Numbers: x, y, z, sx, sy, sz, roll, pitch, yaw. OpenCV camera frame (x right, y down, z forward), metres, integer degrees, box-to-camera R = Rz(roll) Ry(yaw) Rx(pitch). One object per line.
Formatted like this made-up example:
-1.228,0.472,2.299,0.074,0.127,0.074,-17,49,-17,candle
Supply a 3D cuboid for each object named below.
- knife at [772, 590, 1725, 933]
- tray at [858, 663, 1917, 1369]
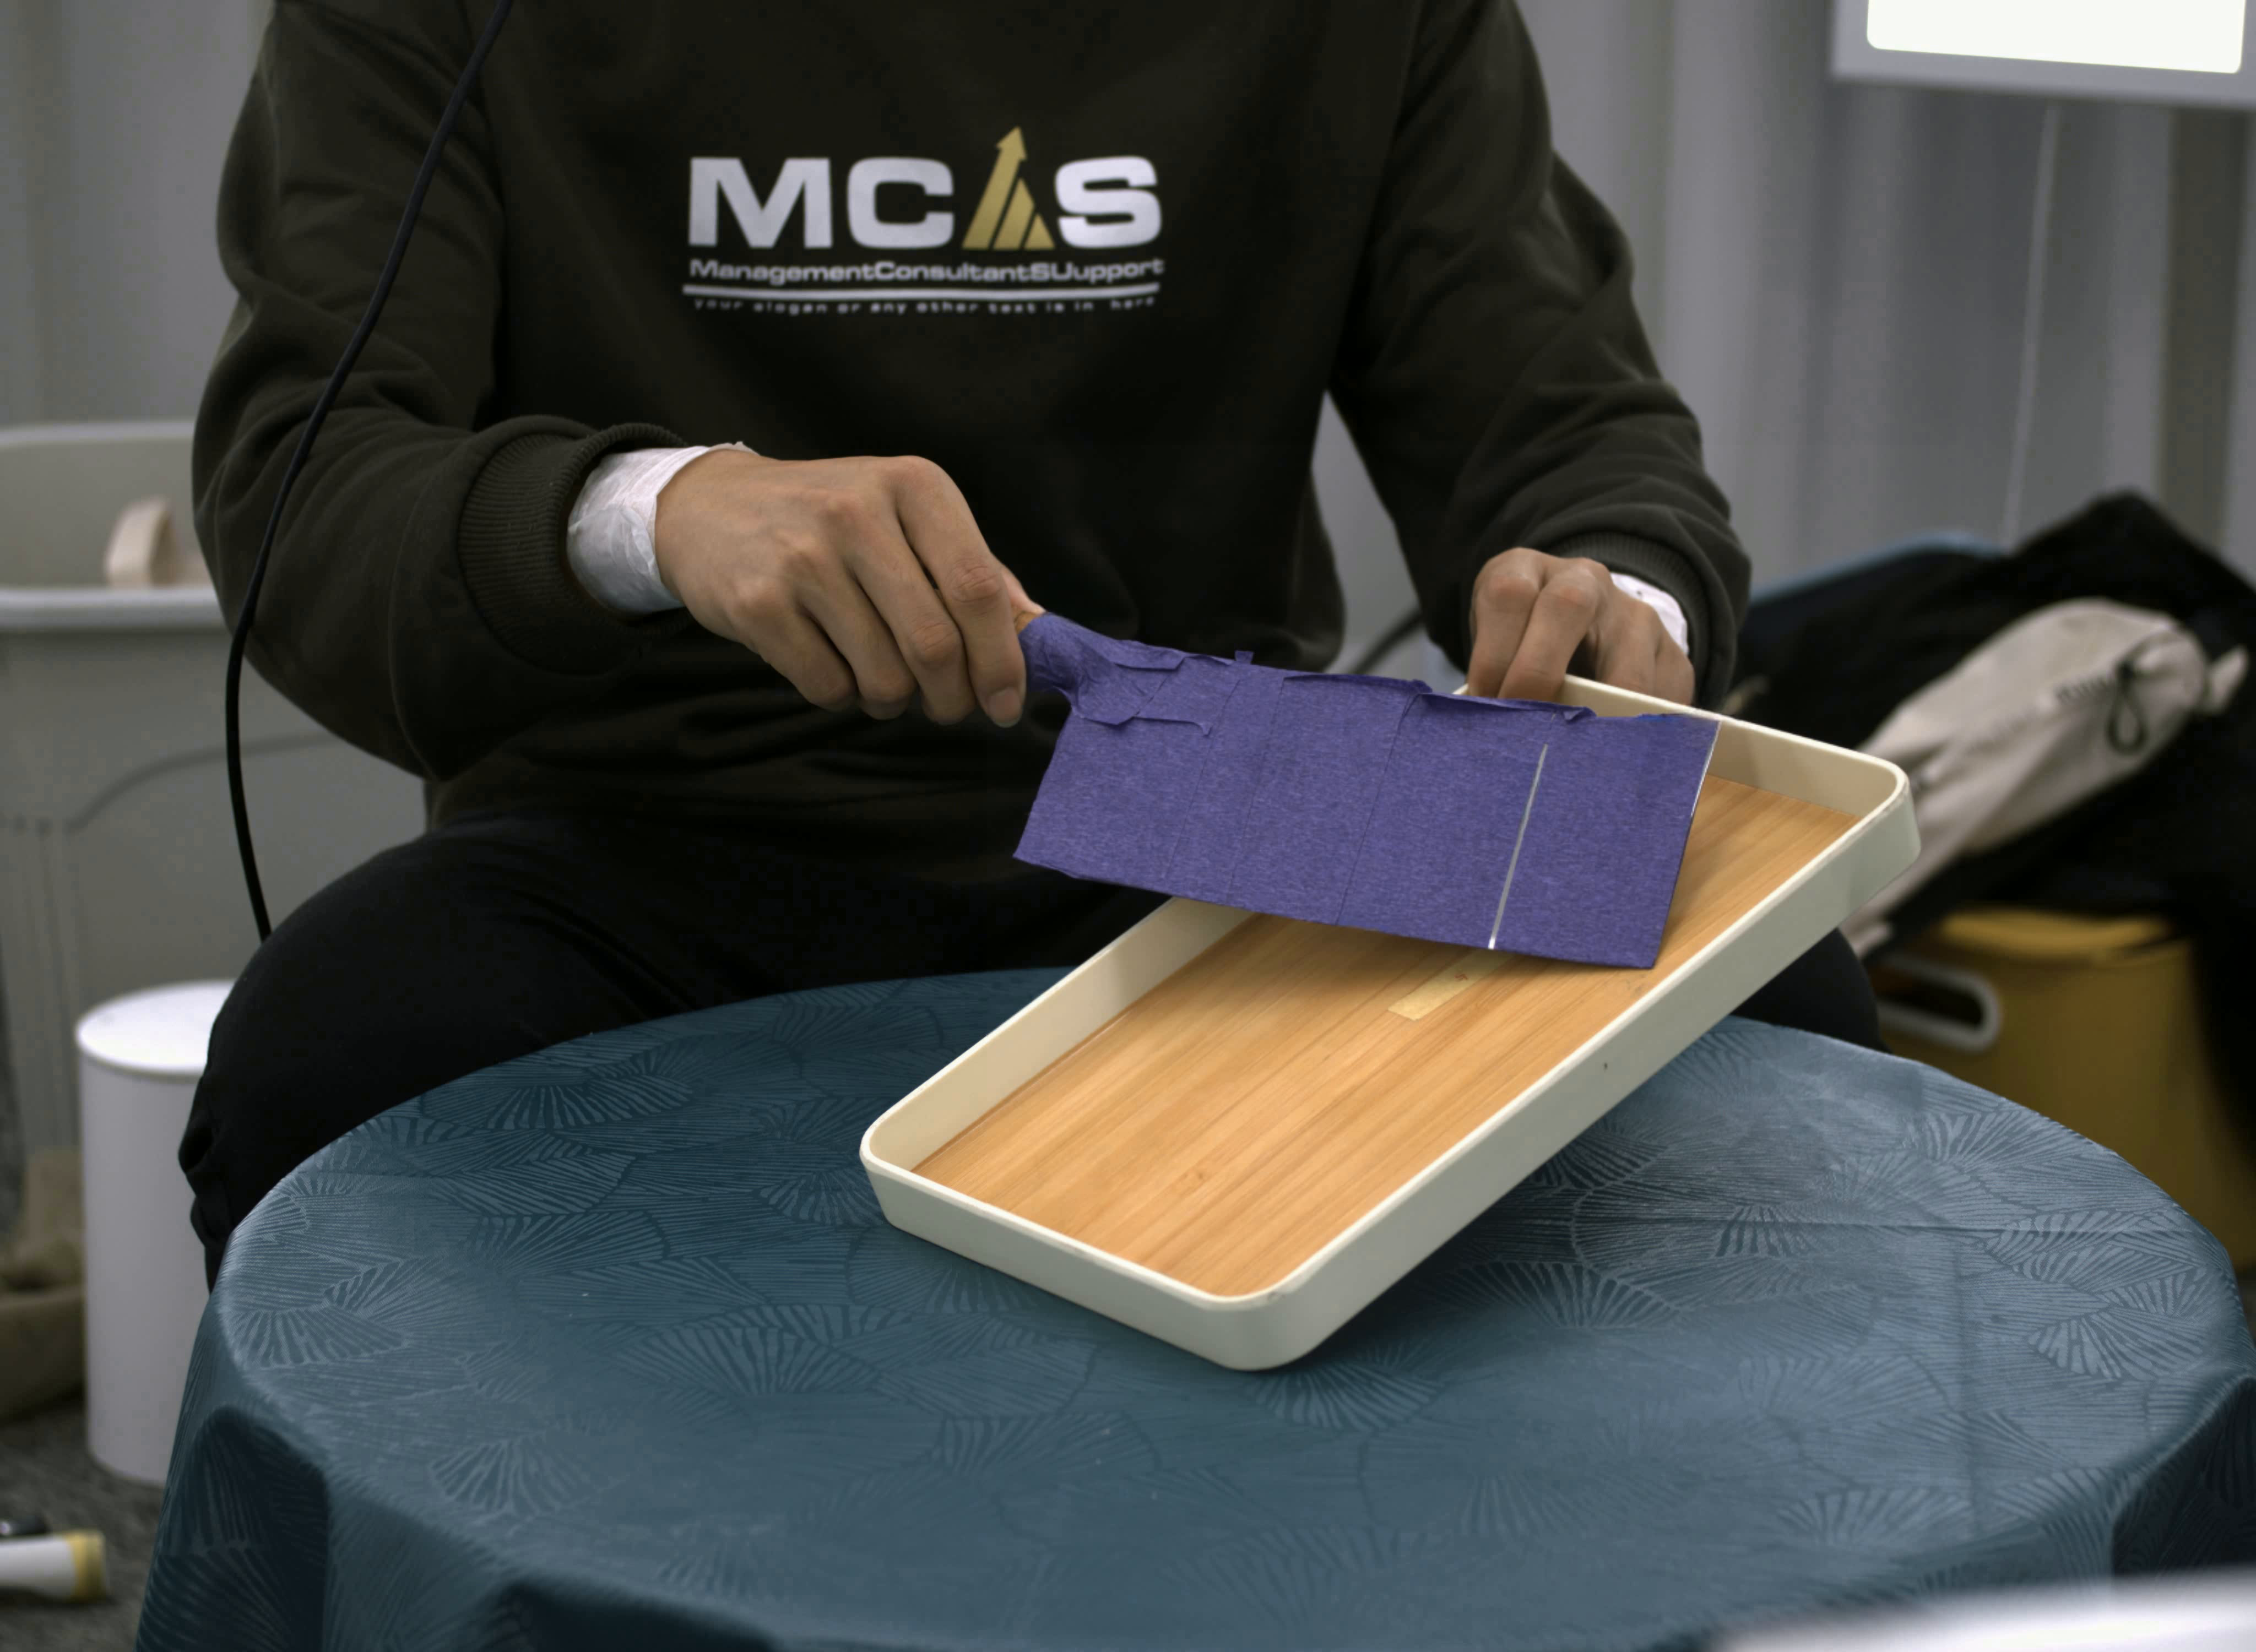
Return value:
0.026,-0.021,1.651,0.312,0.032,0.103,7,56,18,knife
0.080,0.050,1.601,0.300,0.028,0.189,-36,33,-29,tray
